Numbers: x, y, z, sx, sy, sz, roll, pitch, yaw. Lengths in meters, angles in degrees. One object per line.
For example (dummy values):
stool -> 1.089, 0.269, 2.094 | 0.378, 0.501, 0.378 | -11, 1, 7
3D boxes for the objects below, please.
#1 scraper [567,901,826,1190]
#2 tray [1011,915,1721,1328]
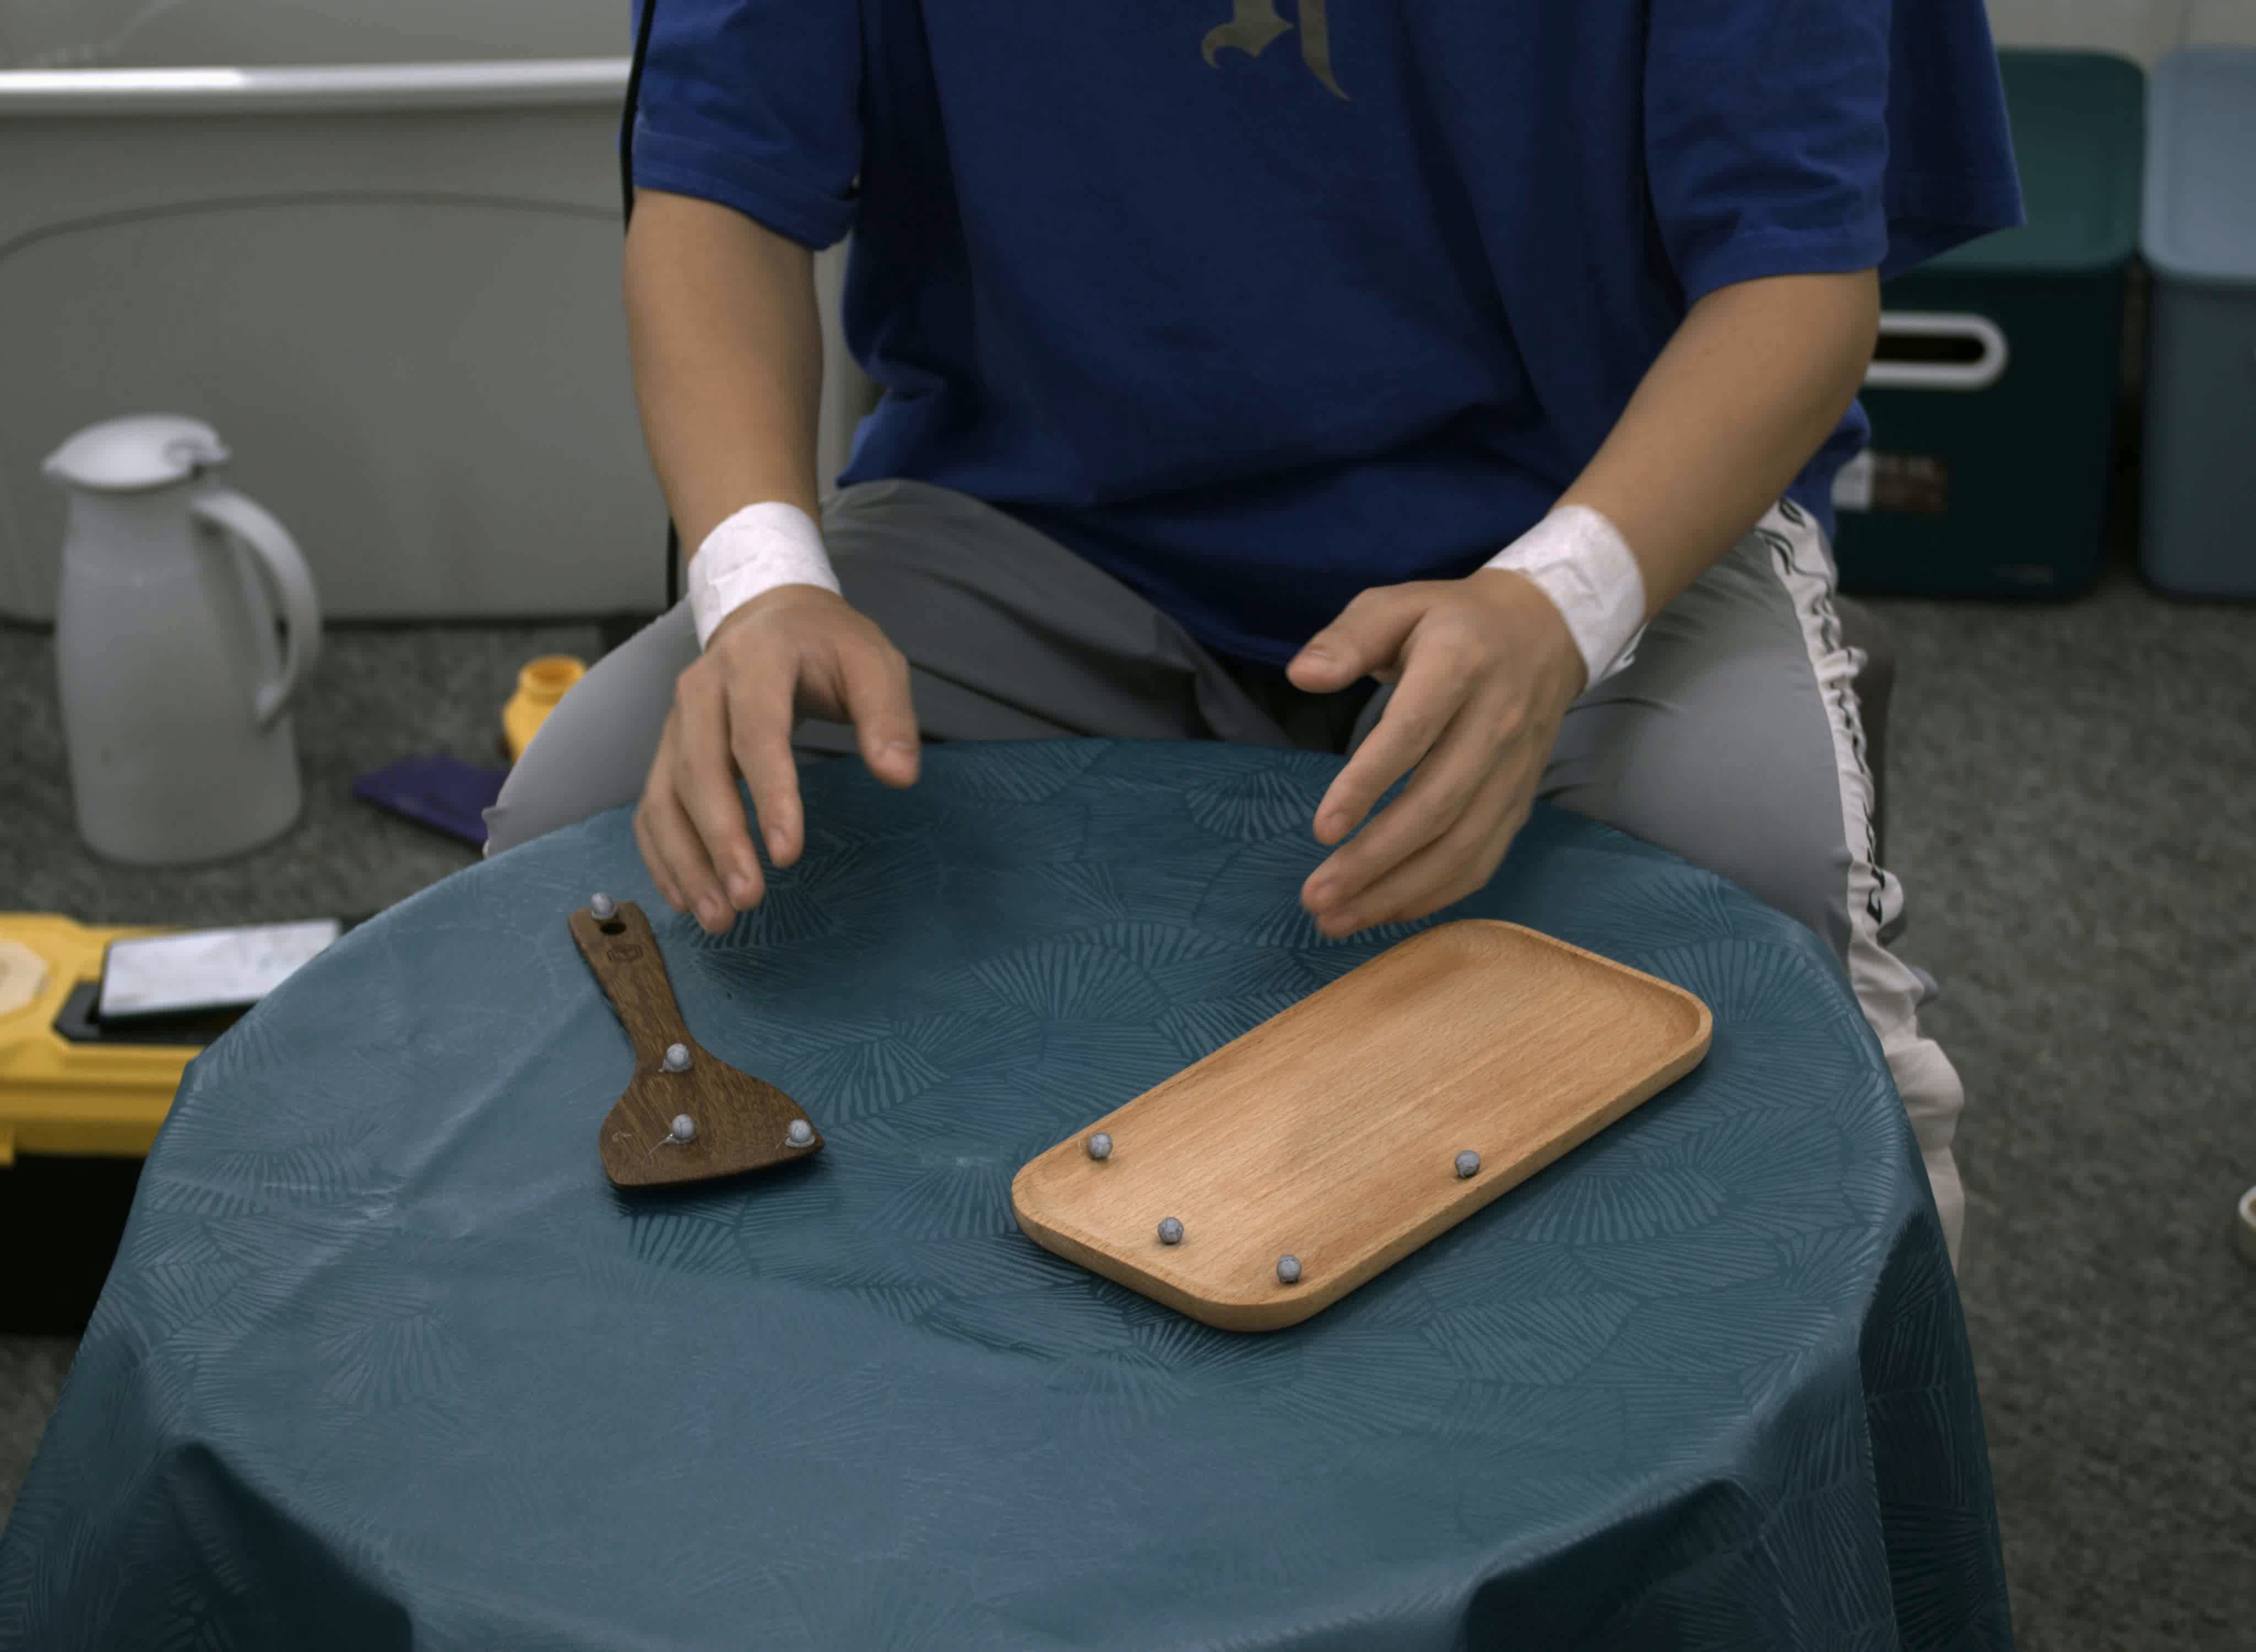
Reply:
scraper -> -0.163, 0.075, 1.957 | 0.076, 0.011, 0.213 | -9, 27, -13
tray -> 0.082, 0.097, 1.882 | 0.130, 0.022, 0.254 | 24, 37, 38
